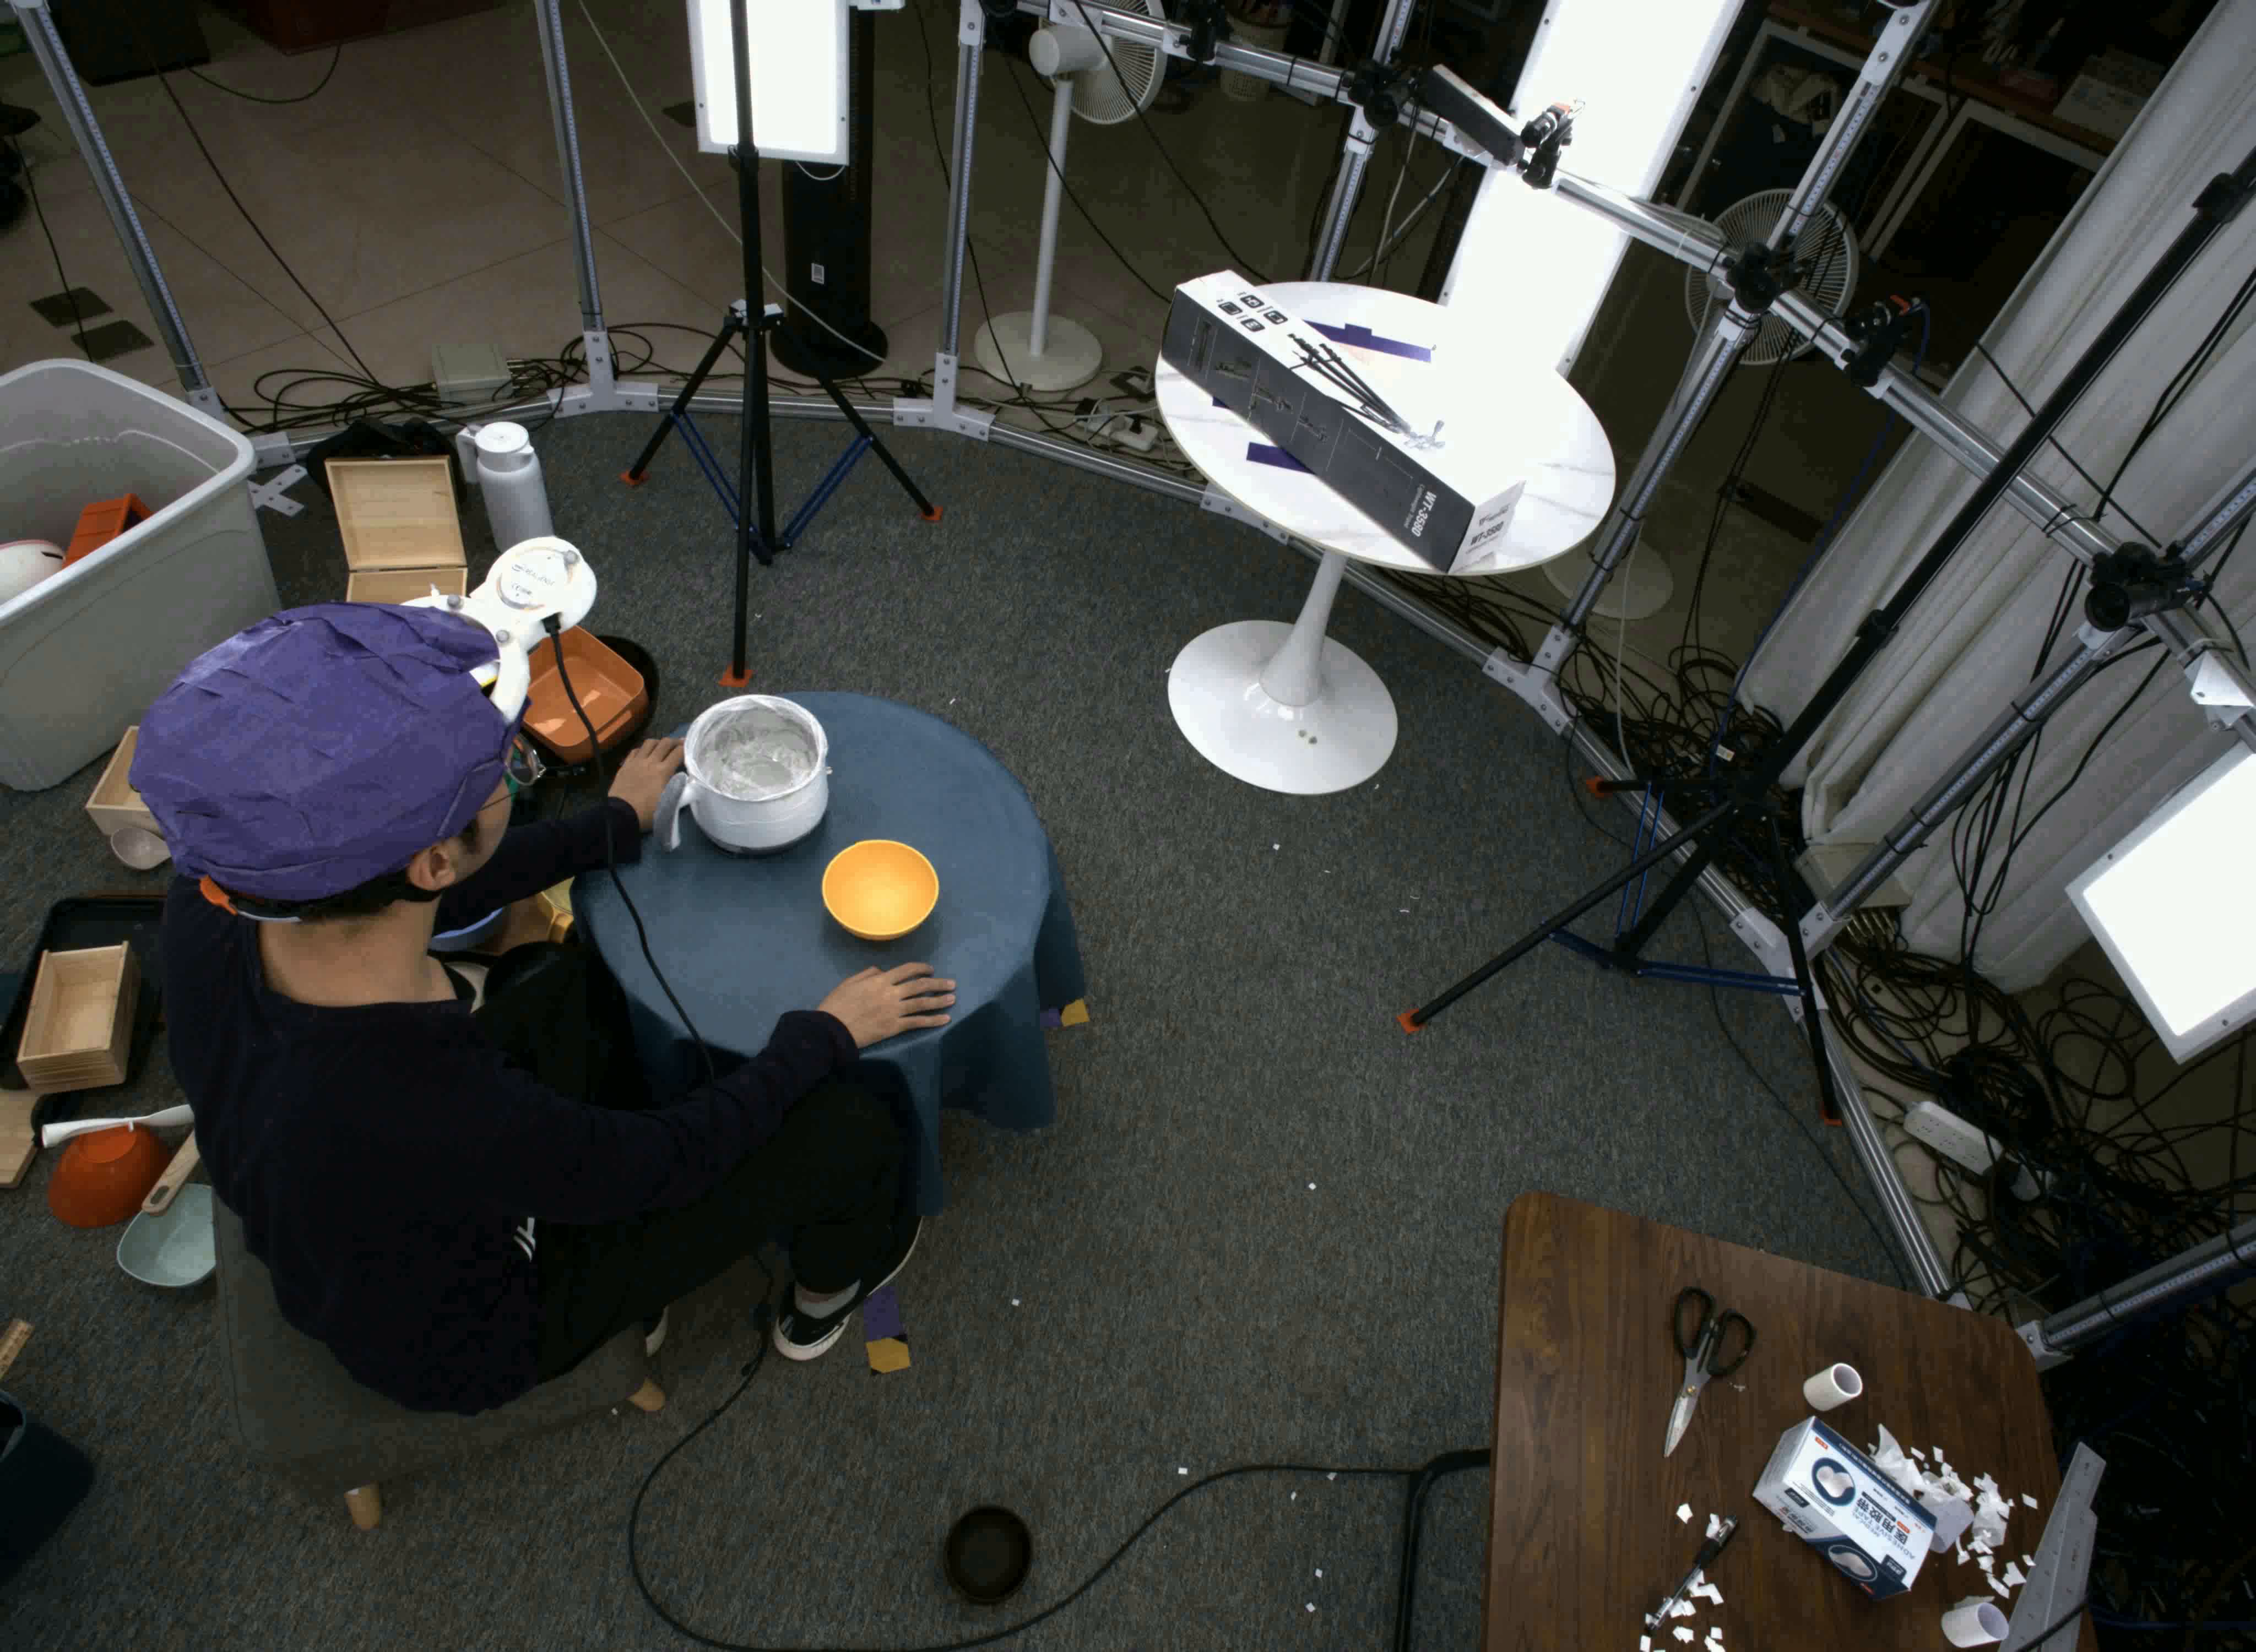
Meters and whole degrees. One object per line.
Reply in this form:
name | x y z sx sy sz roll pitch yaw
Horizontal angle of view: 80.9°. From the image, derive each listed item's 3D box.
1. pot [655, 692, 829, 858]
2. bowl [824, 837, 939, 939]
pot | -0.501 -0.053 1.665 0.234 0.140 0.174 -29 62 -31
bowl | -0.314 0.088 1.658 0.145 0.061 0.143 7 54 -9
